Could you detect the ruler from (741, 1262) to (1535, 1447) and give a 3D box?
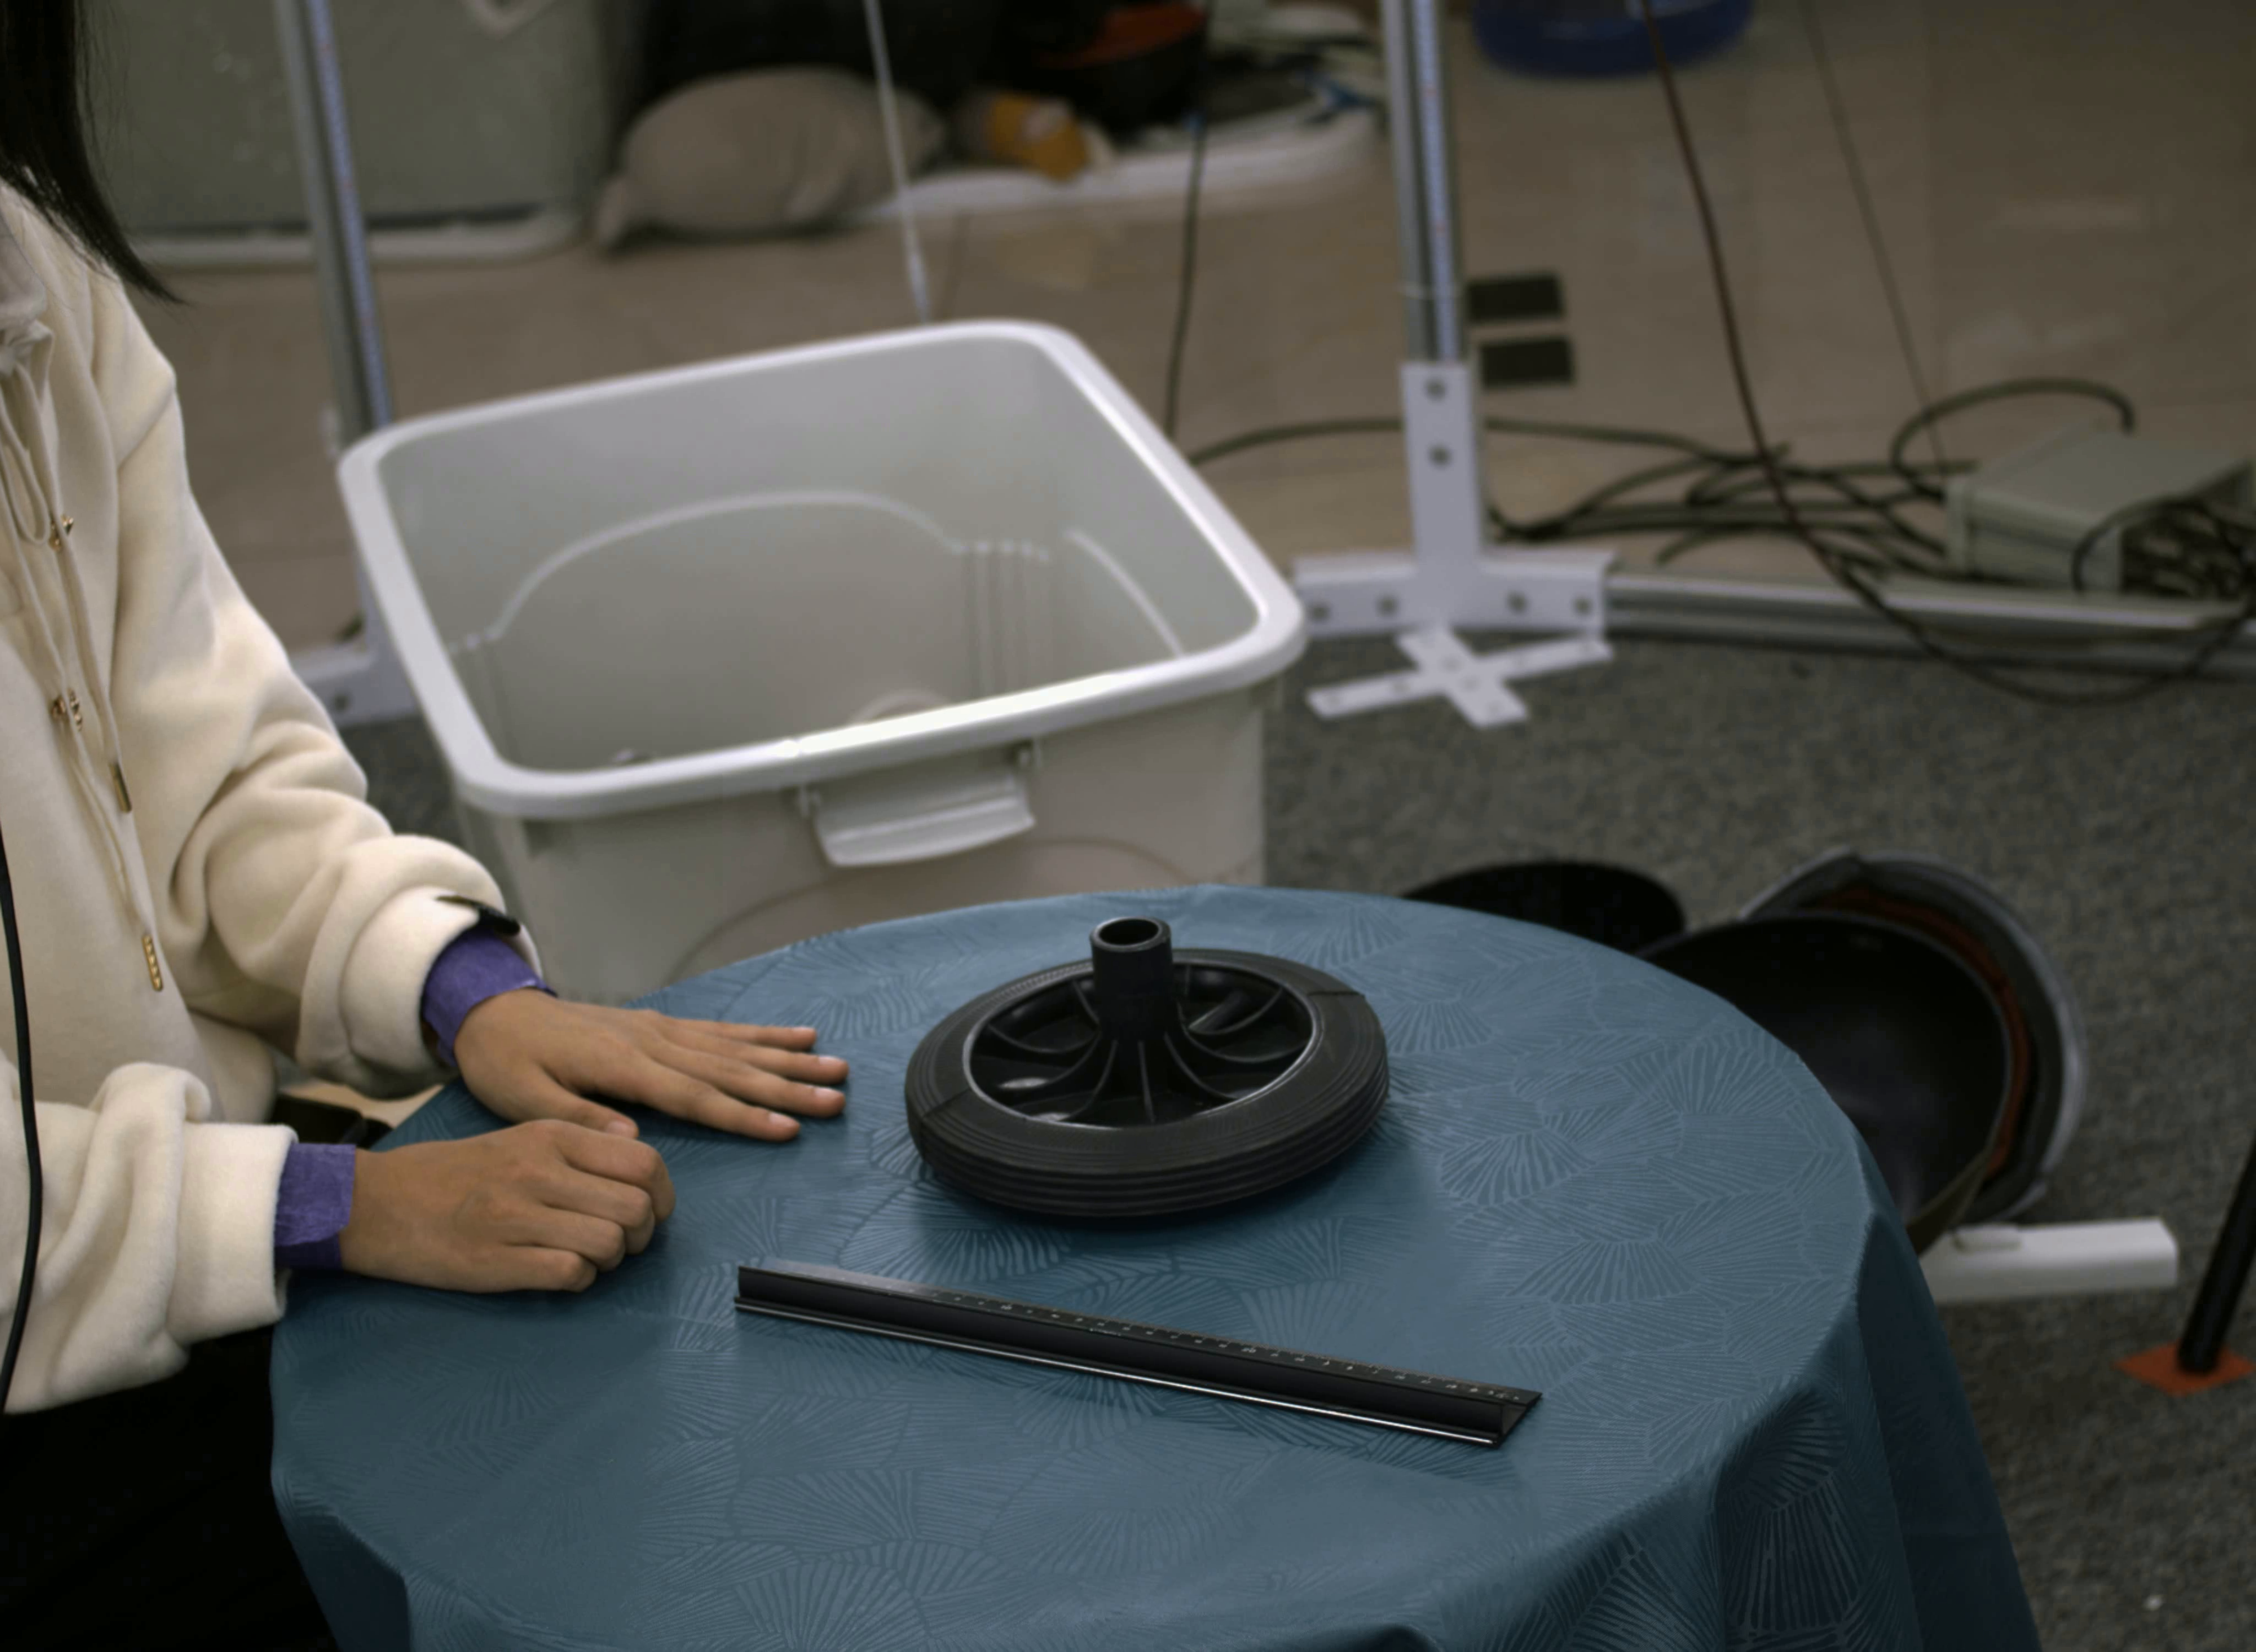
[{"bbox_3d":[-0.001,0.182,2.037,0.311,0.017,0.039,8,25,29],"label":"ruler"}]

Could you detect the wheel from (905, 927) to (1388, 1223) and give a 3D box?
[{"bbox_3d":[0.005,0.081,2.181,0.187,0.080,0.187,1,26,15],"label":"wheel"}]
